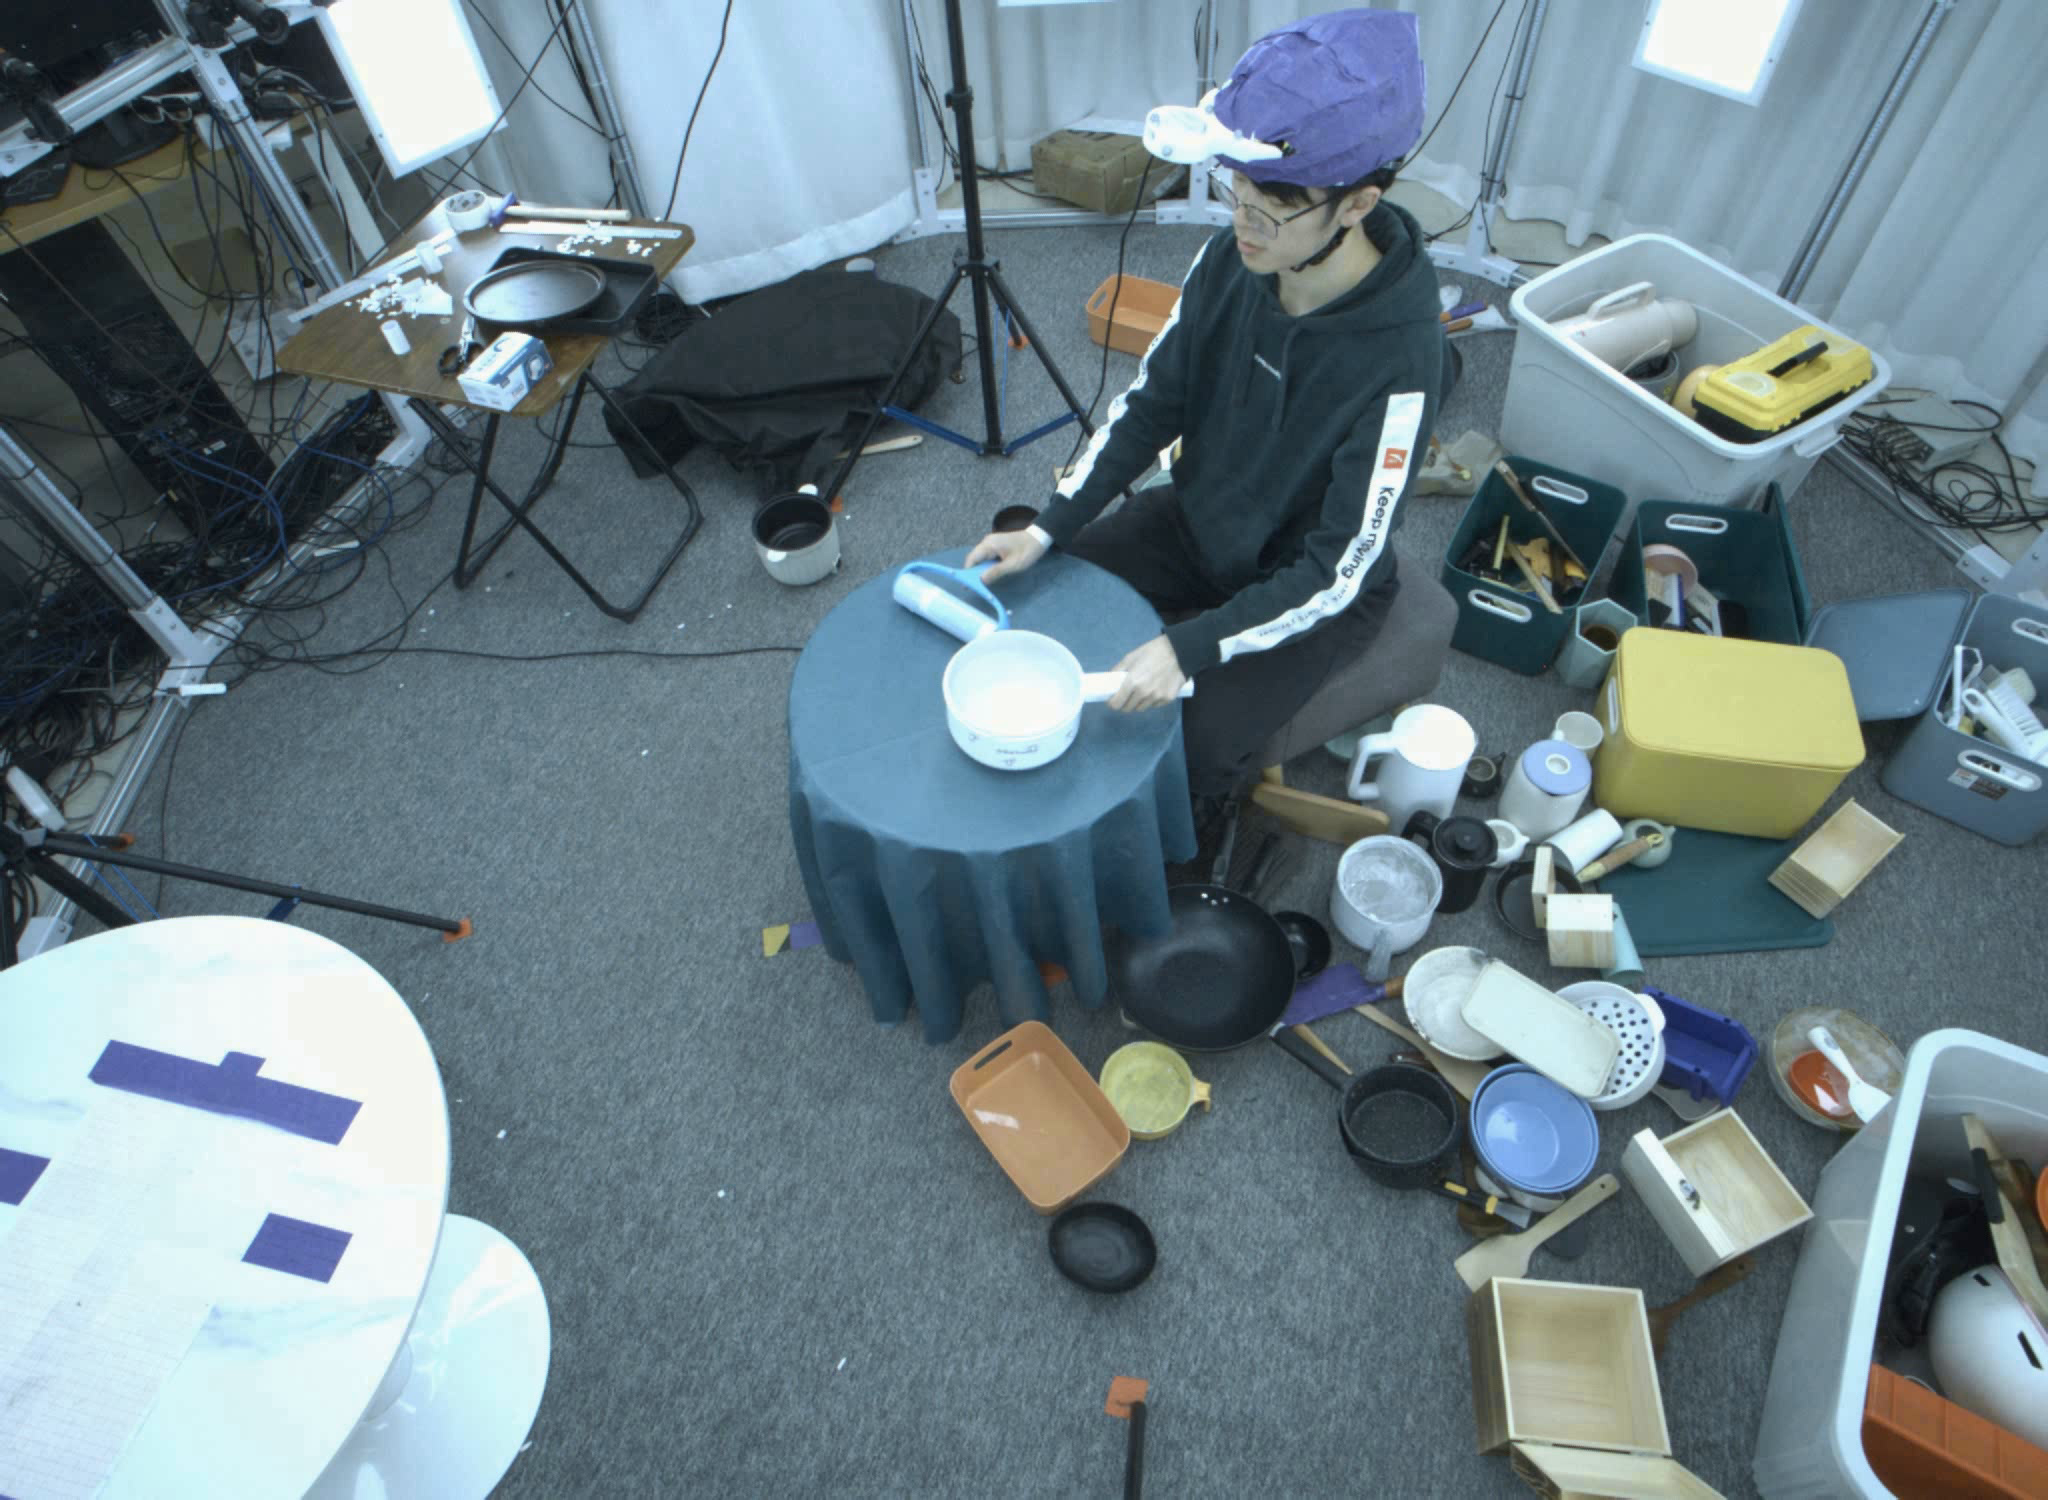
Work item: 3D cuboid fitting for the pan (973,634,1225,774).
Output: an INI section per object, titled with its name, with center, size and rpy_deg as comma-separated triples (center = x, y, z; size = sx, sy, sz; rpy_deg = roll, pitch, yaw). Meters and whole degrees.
[pan]
center = 0.104, -0.061, 1.765
size = 0.356, 0.103, 0.199
rpy_deg = 0, 54, -6

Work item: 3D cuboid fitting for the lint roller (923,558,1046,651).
[lint roller]
center = -0.033, -0.253, 1.919
size = 0.225, 0.069, 0.181
rpy_deg = 30, 69, 24
